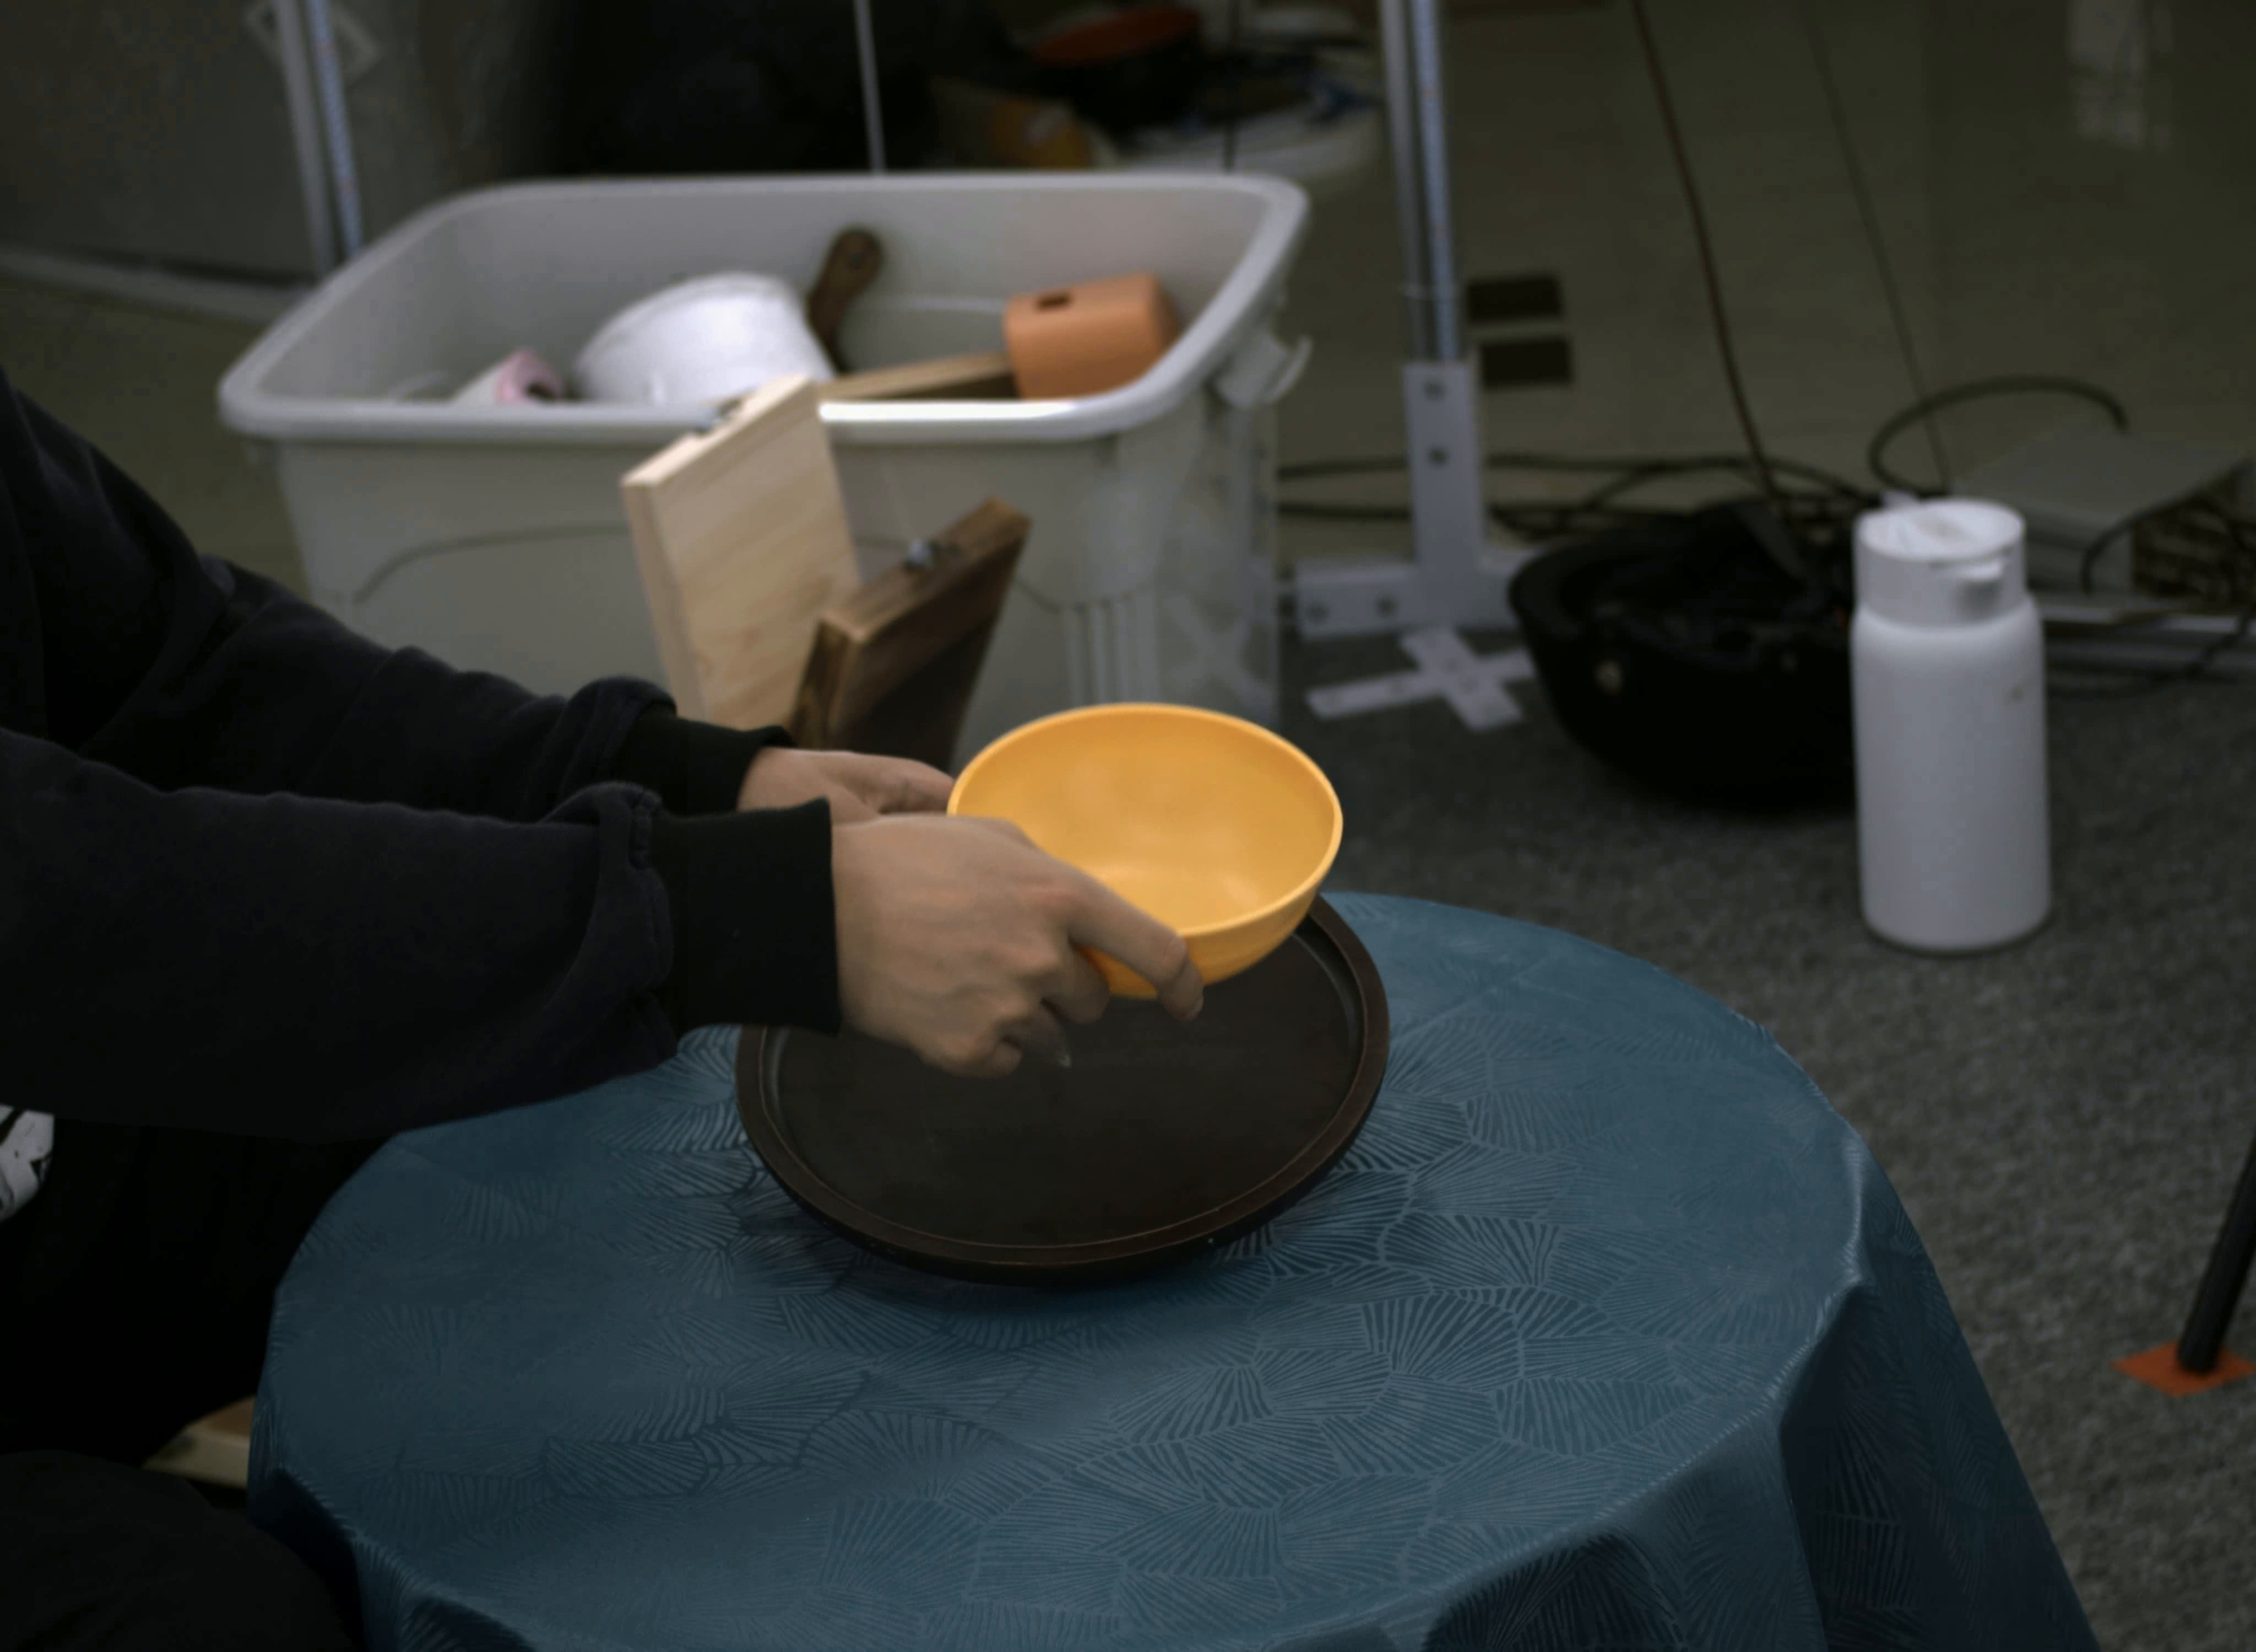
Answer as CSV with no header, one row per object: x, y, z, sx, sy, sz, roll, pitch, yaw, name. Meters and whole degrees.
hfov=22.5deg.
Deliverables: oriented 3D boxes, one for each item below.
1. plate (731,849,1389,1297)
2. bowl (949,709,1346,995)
-0.025,0.090,2.173,0.254,0.029,0.250,-4,41,3,plate
0.008,0.019,2.077,0.145,0.061,0.143,-1,36,1,bowl
